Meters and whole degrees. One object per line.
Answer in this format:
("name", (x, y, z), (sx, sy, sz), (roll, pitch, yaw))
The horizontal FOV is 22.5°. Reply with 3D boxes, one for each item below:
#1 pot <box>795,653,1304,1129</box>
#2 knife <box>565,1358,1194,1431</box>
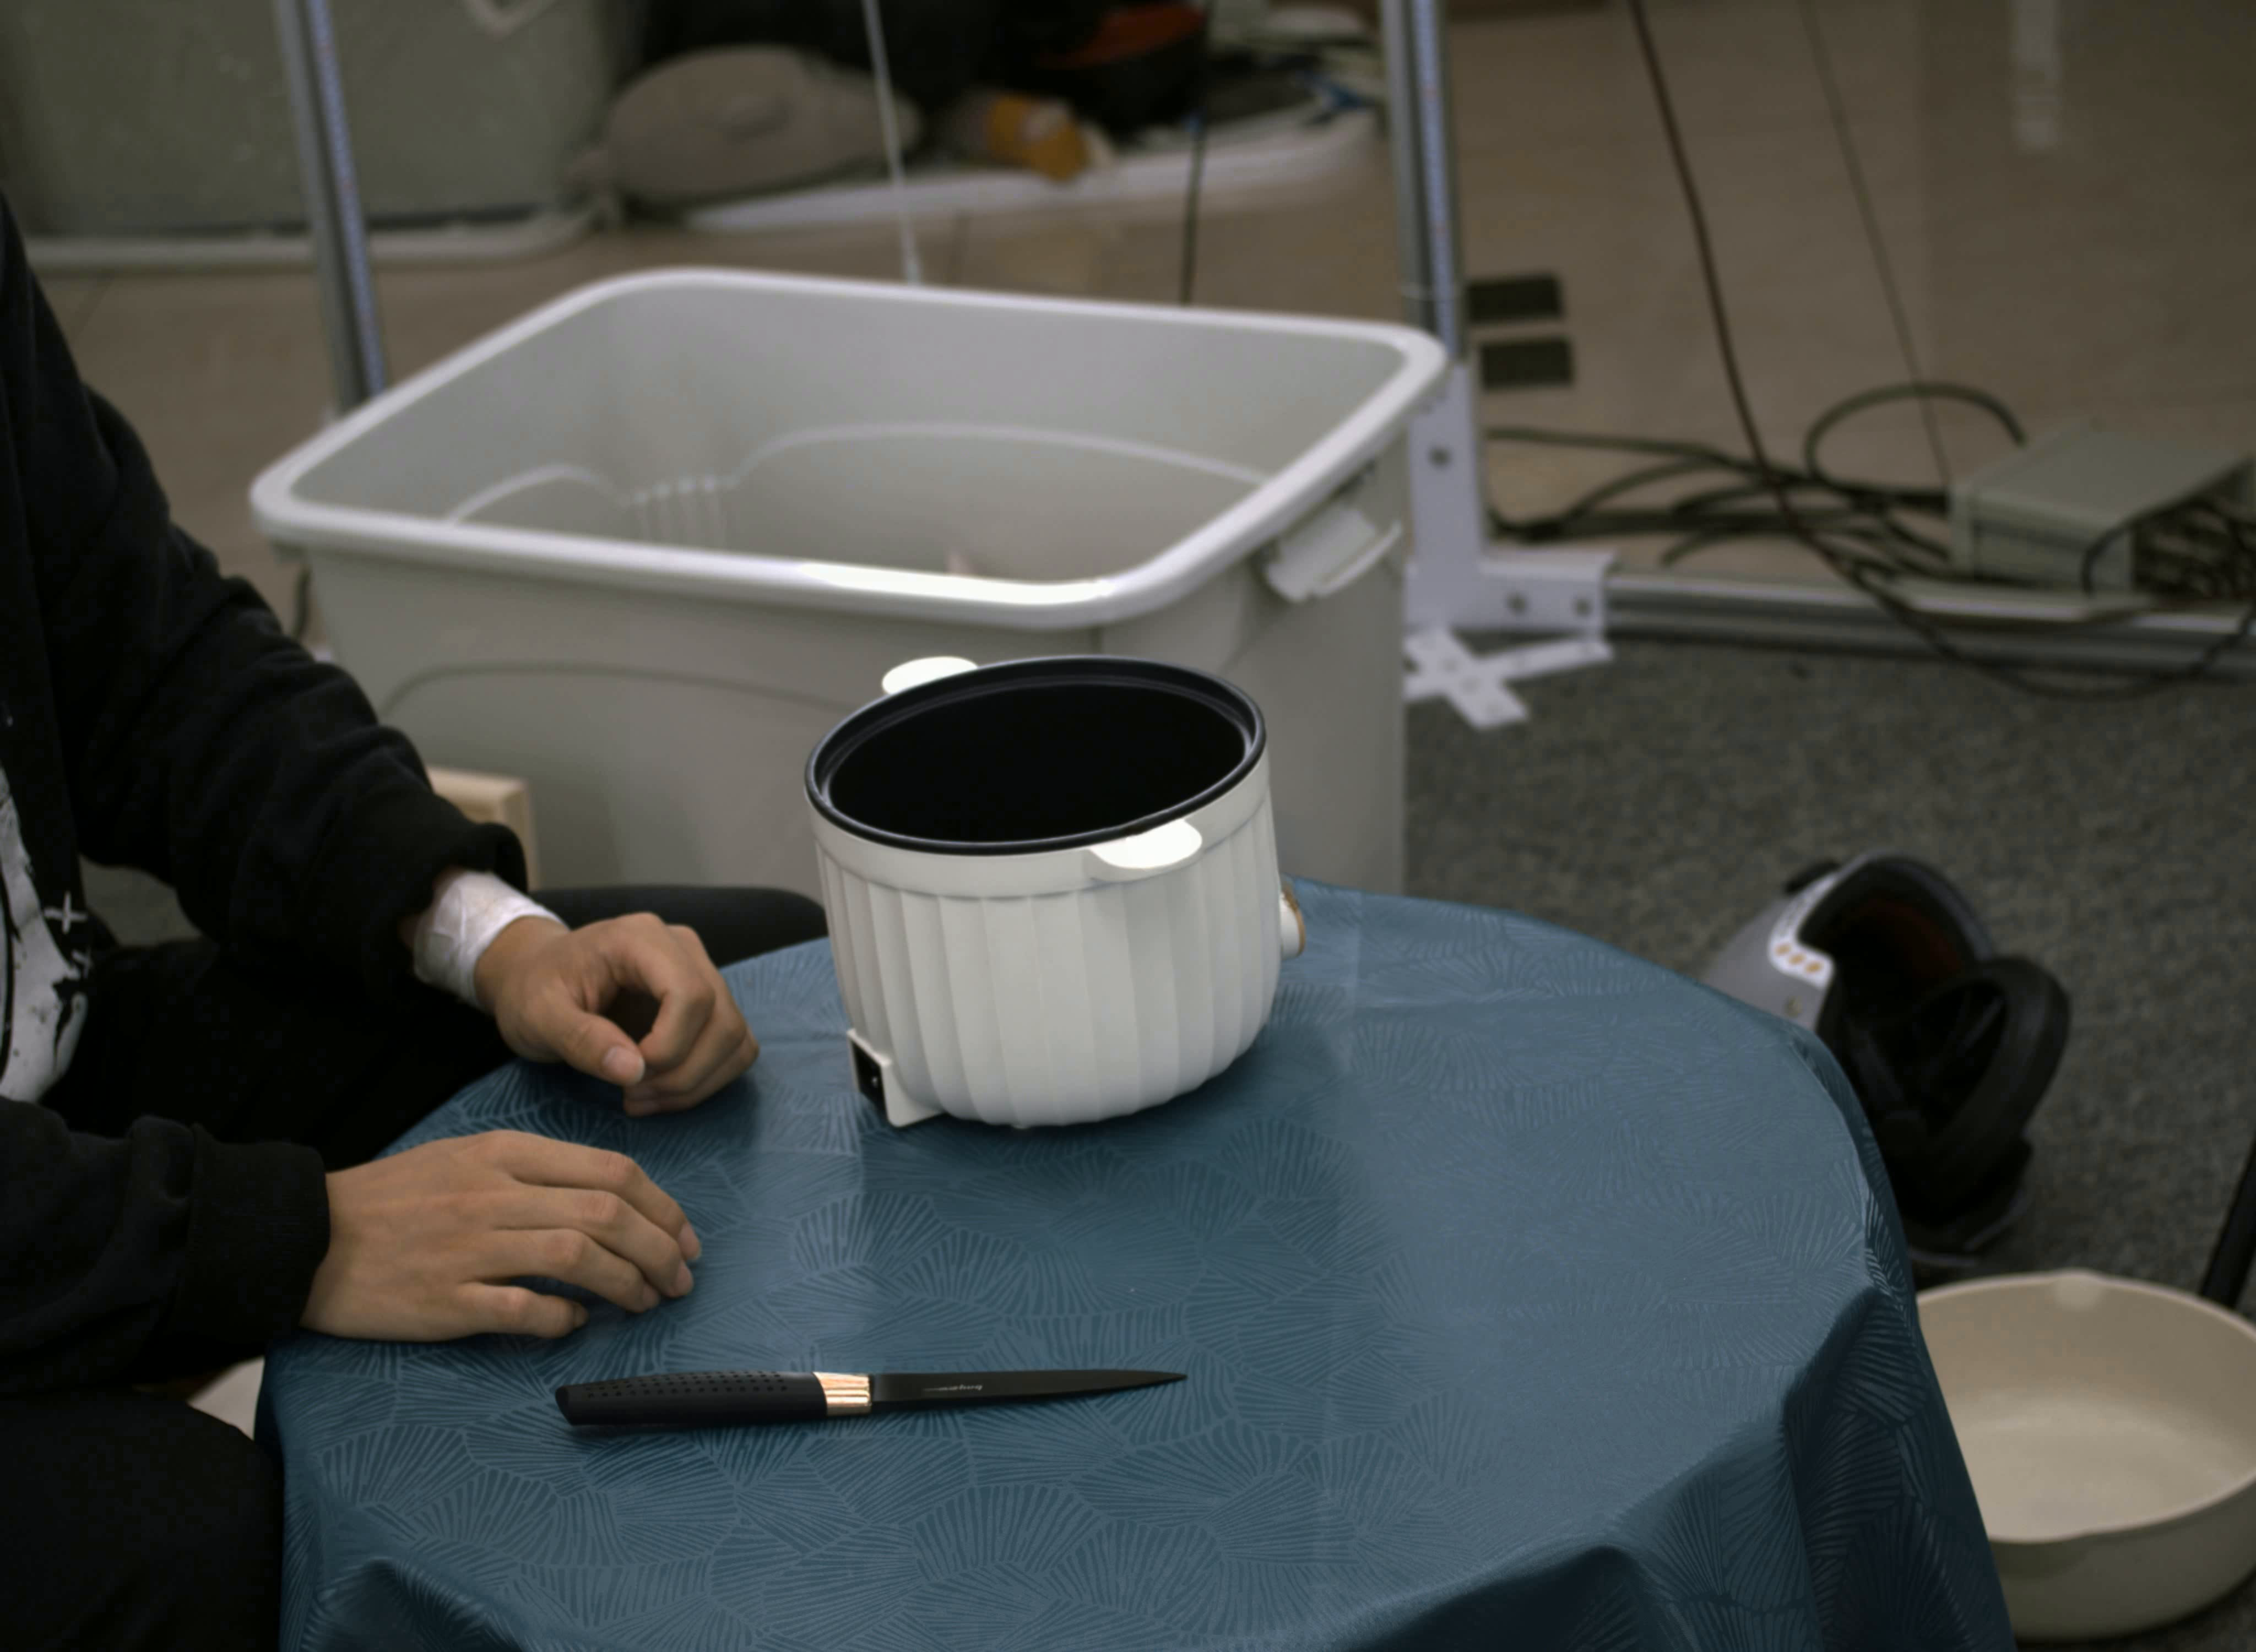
("pot", (-0.025, 0.028, 2.229), (0.189, 0.145, 0.237), (-20, 30, -20))
("knife", (-0.088, 0.202, 2.028), (0.225, 0.017, 0.026), (-4, 10, 2))
